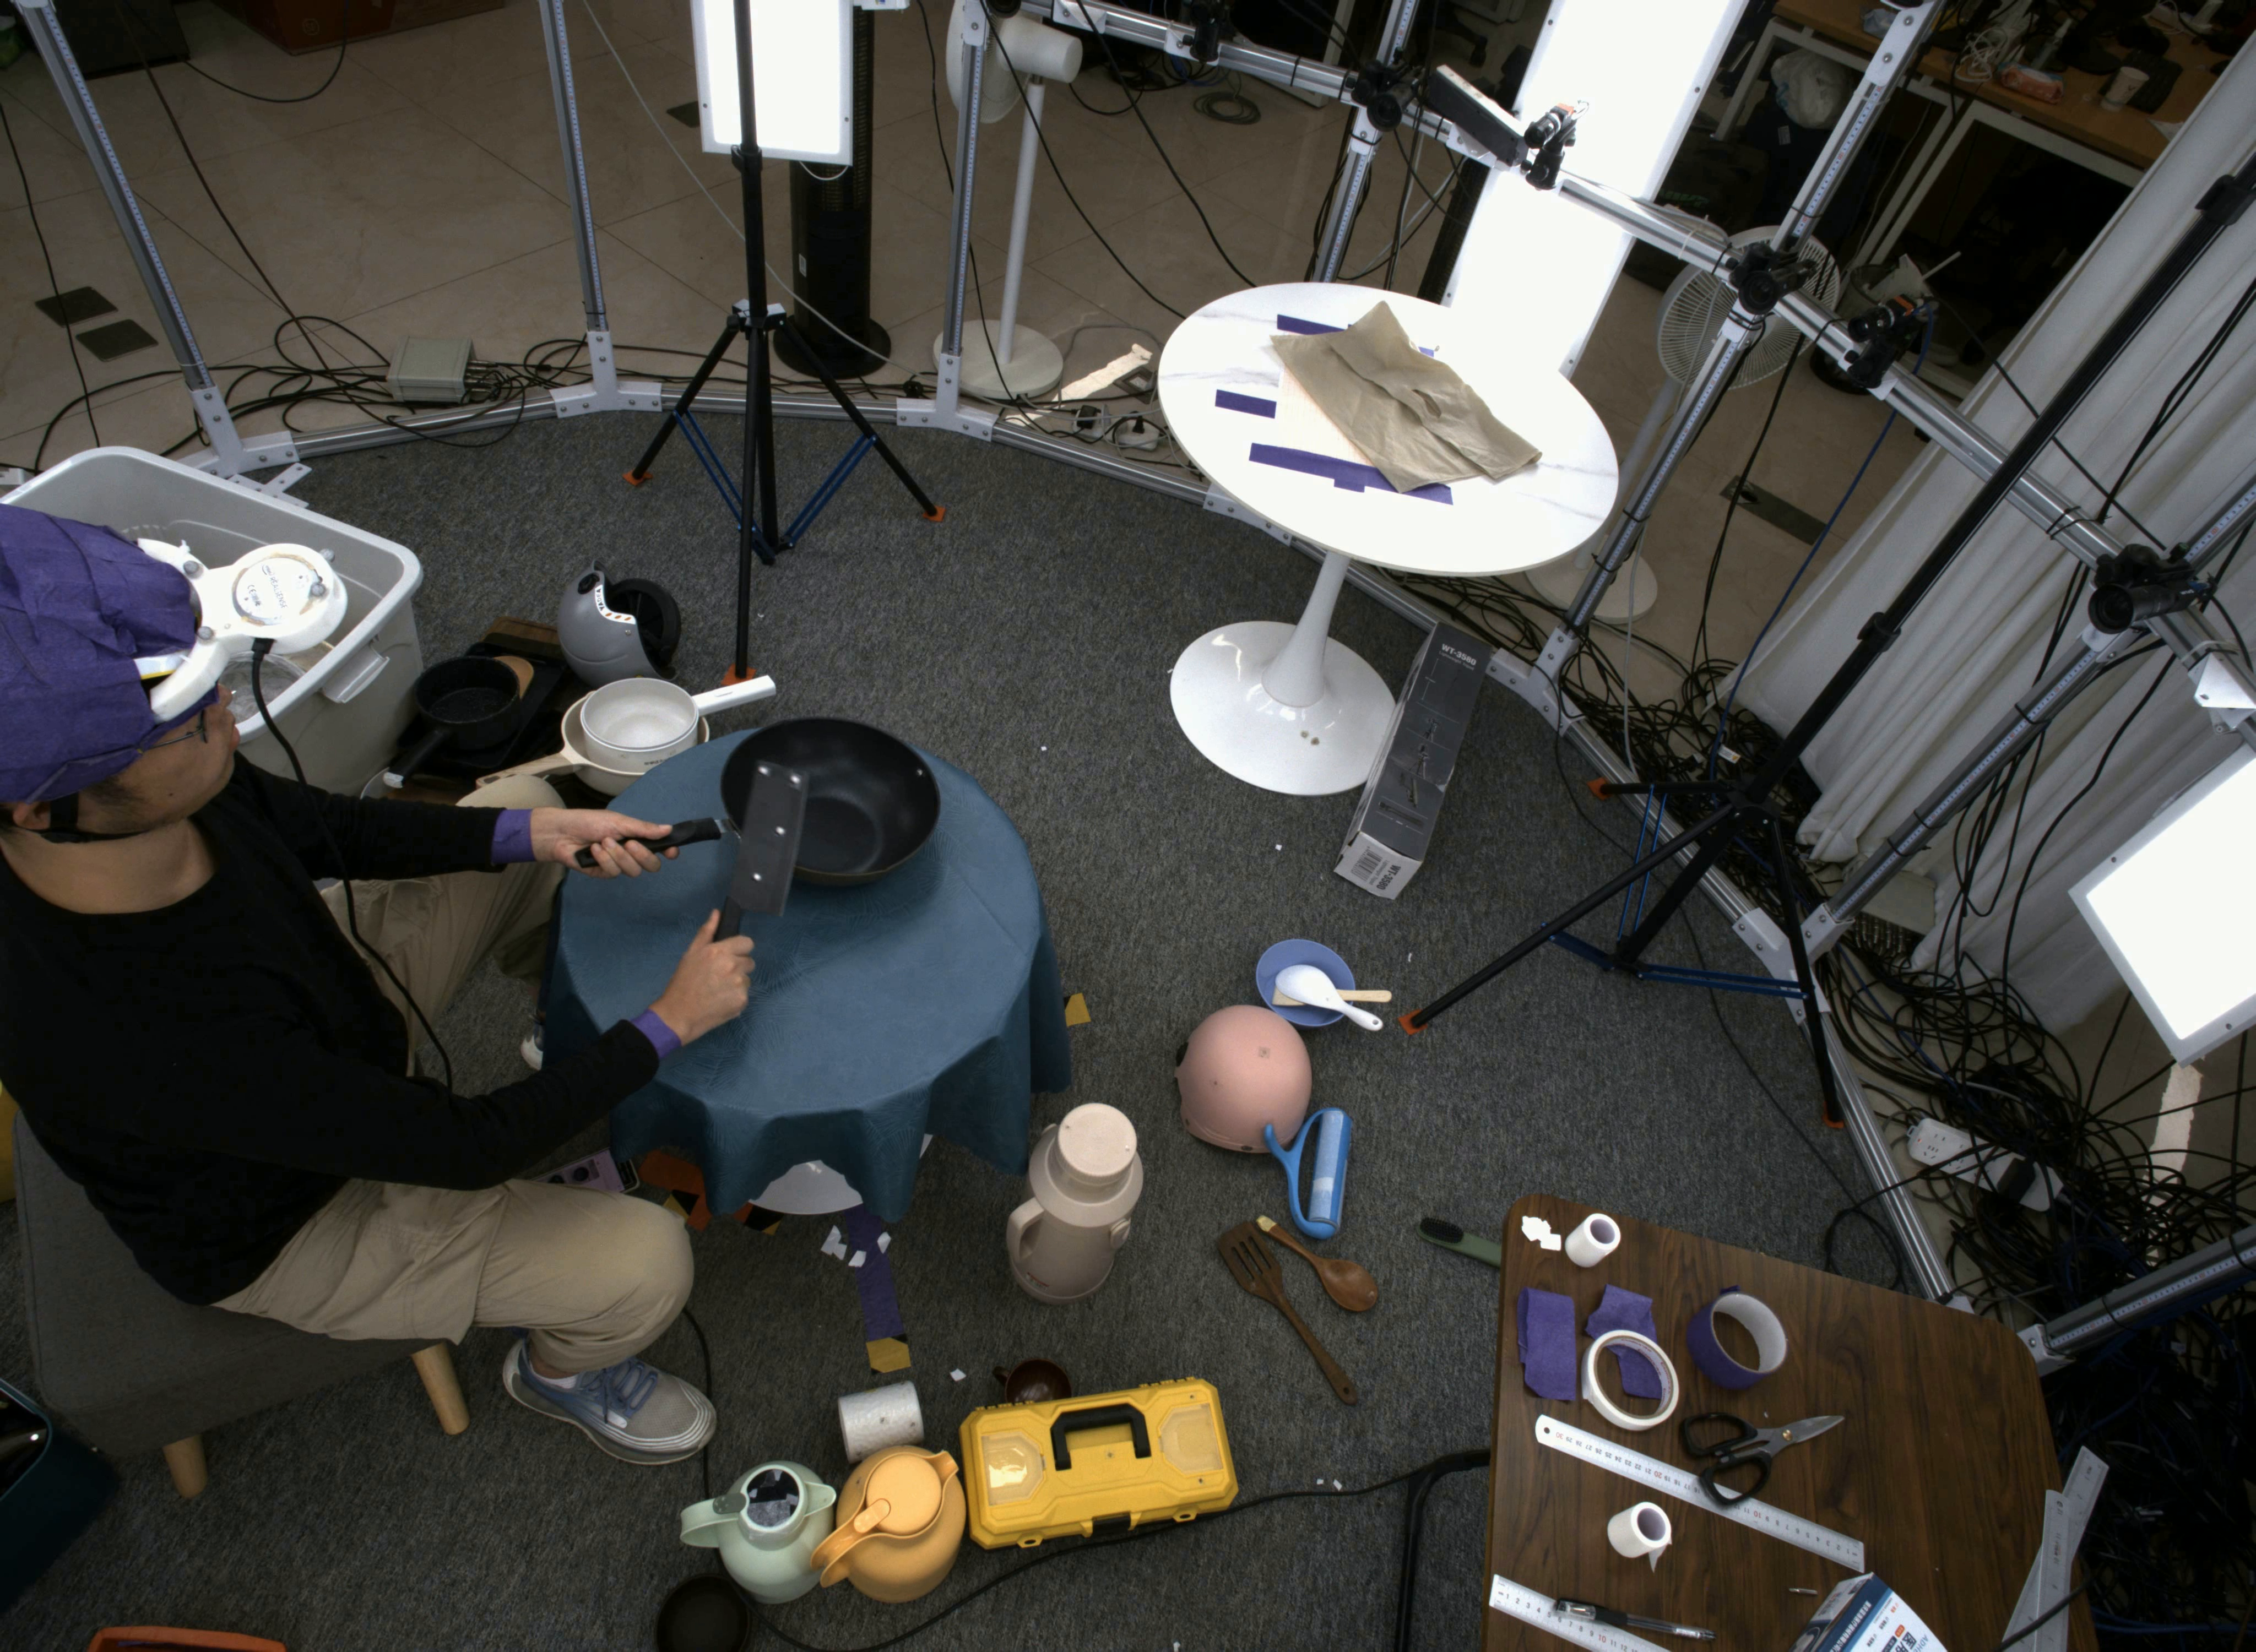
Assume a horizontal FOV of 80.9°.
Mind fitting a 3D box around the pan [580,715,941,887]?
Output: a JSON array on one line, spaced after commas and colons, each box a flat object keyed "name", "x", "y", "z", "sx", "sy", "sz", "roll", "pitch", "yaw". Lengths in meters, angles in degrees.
[{"name": "pan", "x": -0.459, "y": 0.002, "z": 1.631, "sx": 0.467, "sy": 0.088, "sz": 0.280, "roll": -18, "pitch": 57, "yaw": -34}]

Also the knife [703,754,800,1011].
[{"name": "knife", "x": -0.445, "y": 0.063, "z": 1.523, "sx": 0.082, "sy": 0.020, "sz": 0.302, "roll": 19, "pitch": 74, "yaw": -25}]
